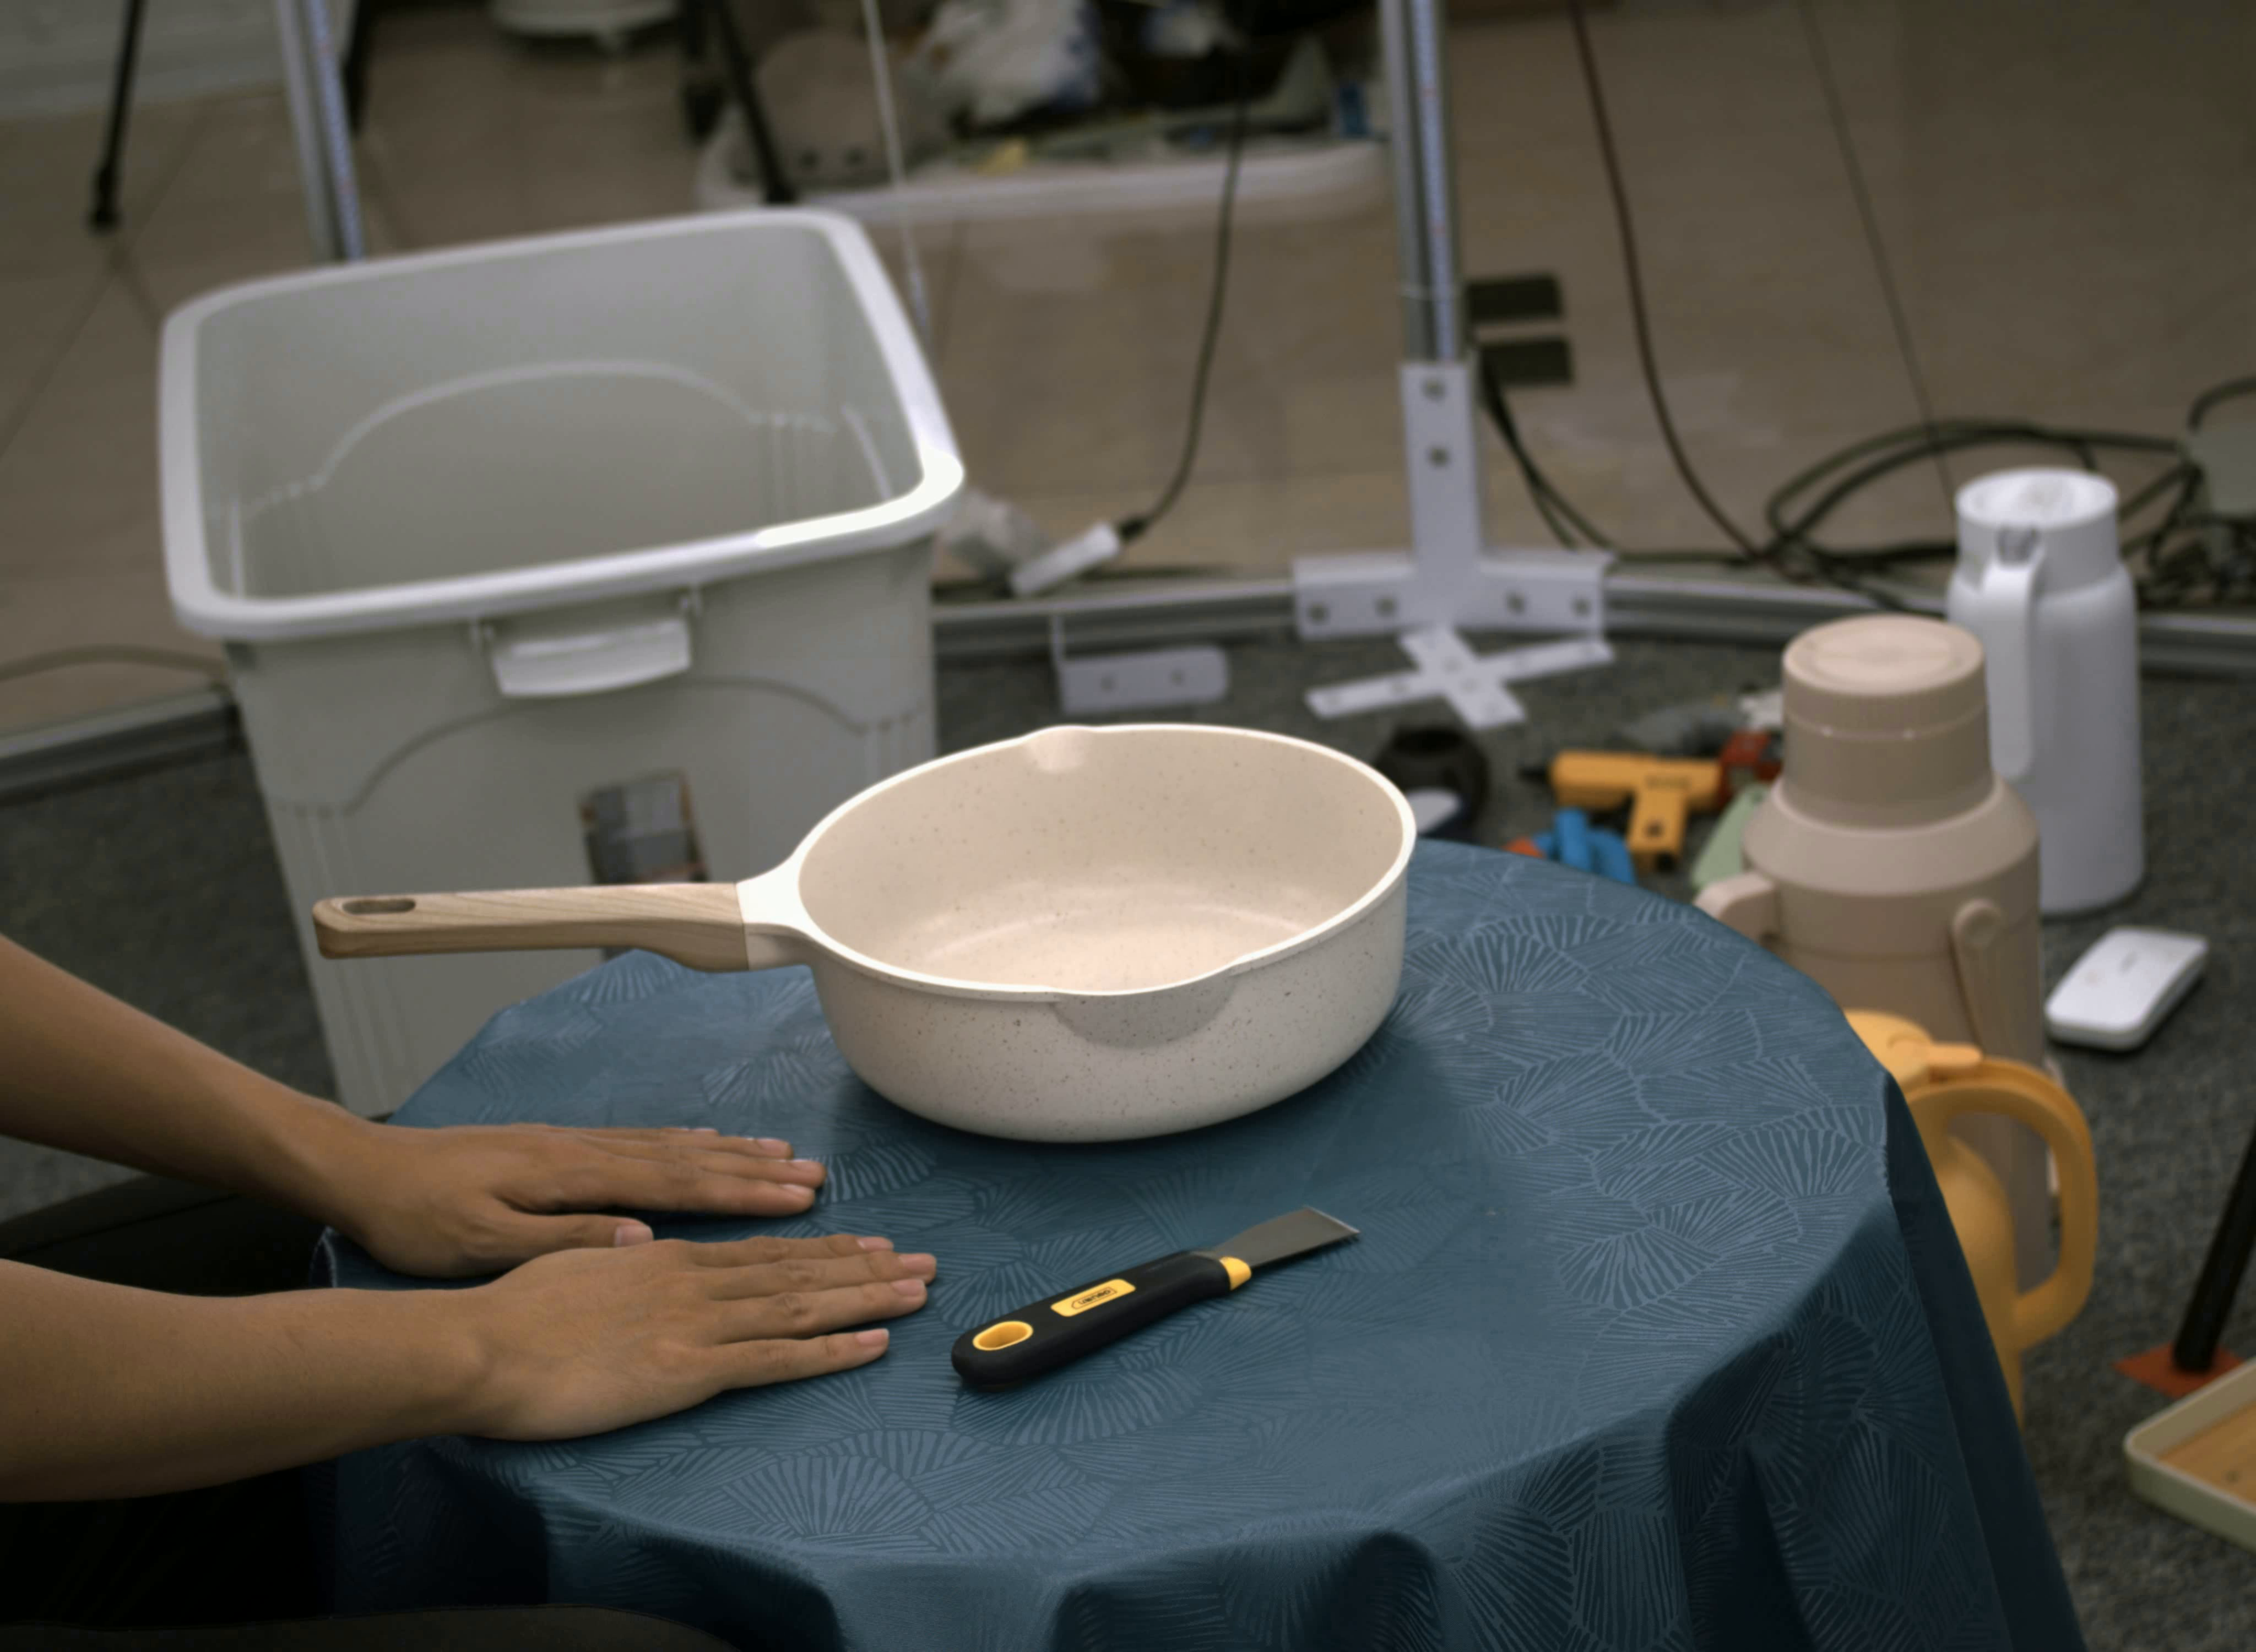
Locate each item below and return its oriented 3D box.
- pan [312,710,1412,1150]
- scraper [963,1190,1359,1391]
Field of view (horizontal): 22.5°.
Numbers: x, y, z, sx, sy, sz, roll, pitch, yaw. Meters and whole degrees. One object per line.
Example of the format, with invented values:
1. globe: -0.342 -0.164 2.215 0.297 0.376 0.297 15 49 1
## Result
1. pan: -0.100 0.052 2.250 0.434 0.104 0.259 -9 28 -5
2. scraper: 0.011 0.169 2.066 0.170 0.015 0.038 -21 35 -34
